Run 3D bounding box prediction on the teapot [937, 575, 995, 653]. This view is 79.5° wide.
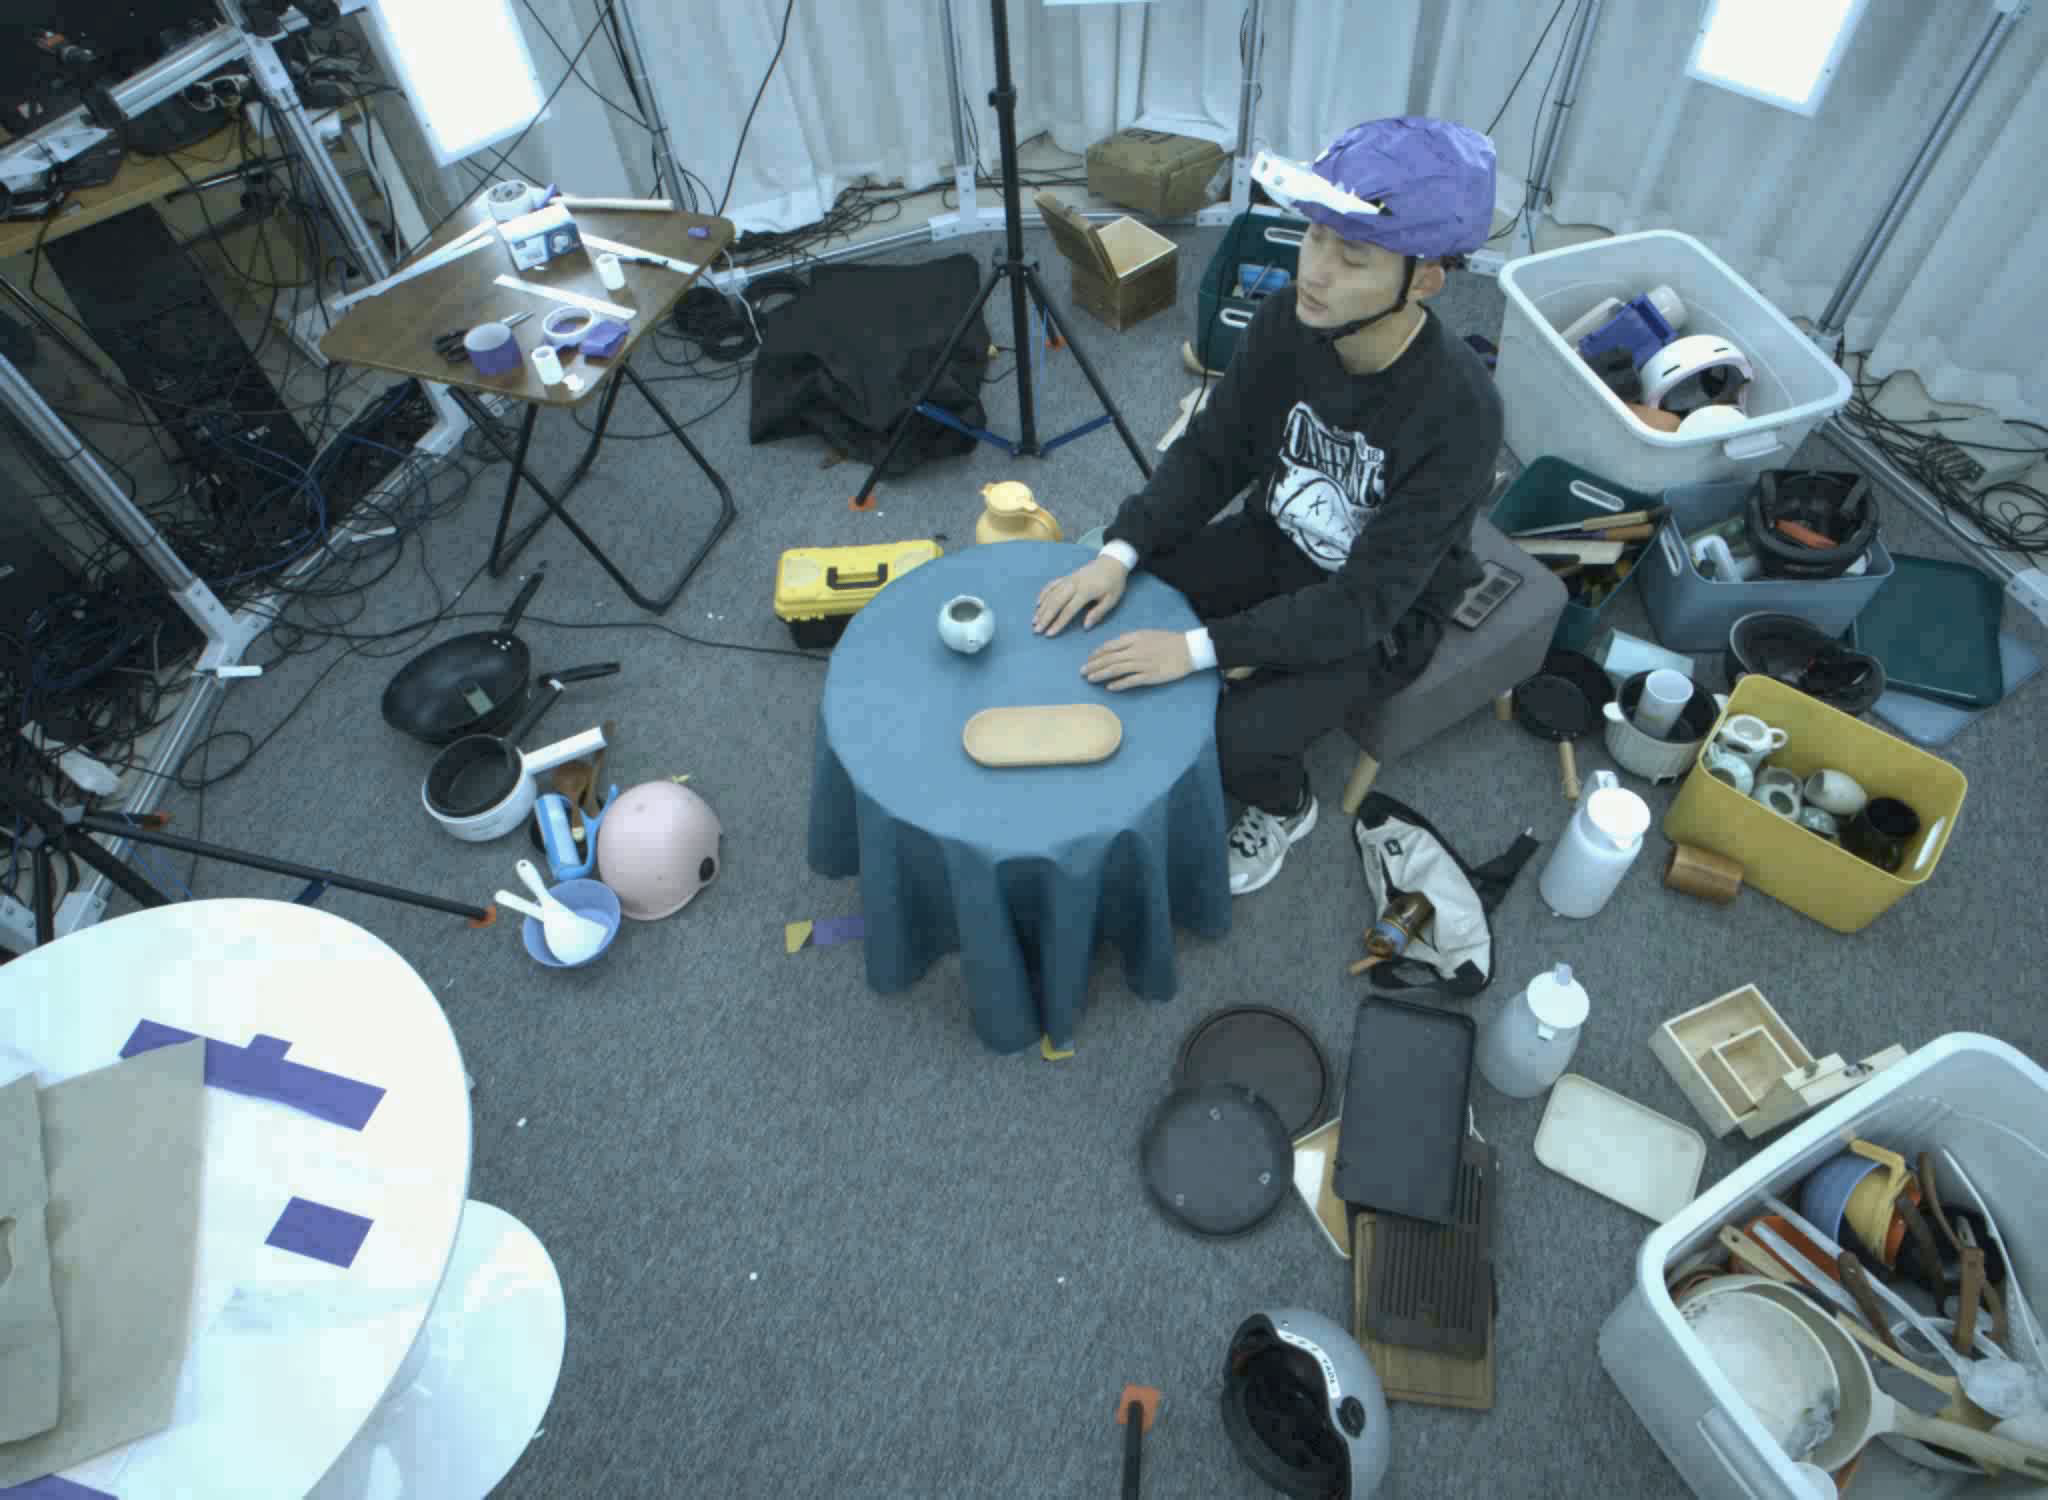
[{"bbox_3d":[-0.089,-0.195,1.880,0.088,0.075,0.142,-9,57,-4],"label":"teapot"}]

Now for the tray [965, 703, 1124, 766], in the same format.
[{"bbox_3d":[0.030,-0.022,1.789,0.231,0.020,0.100,-2,56,-2],"label":"tray"}]
